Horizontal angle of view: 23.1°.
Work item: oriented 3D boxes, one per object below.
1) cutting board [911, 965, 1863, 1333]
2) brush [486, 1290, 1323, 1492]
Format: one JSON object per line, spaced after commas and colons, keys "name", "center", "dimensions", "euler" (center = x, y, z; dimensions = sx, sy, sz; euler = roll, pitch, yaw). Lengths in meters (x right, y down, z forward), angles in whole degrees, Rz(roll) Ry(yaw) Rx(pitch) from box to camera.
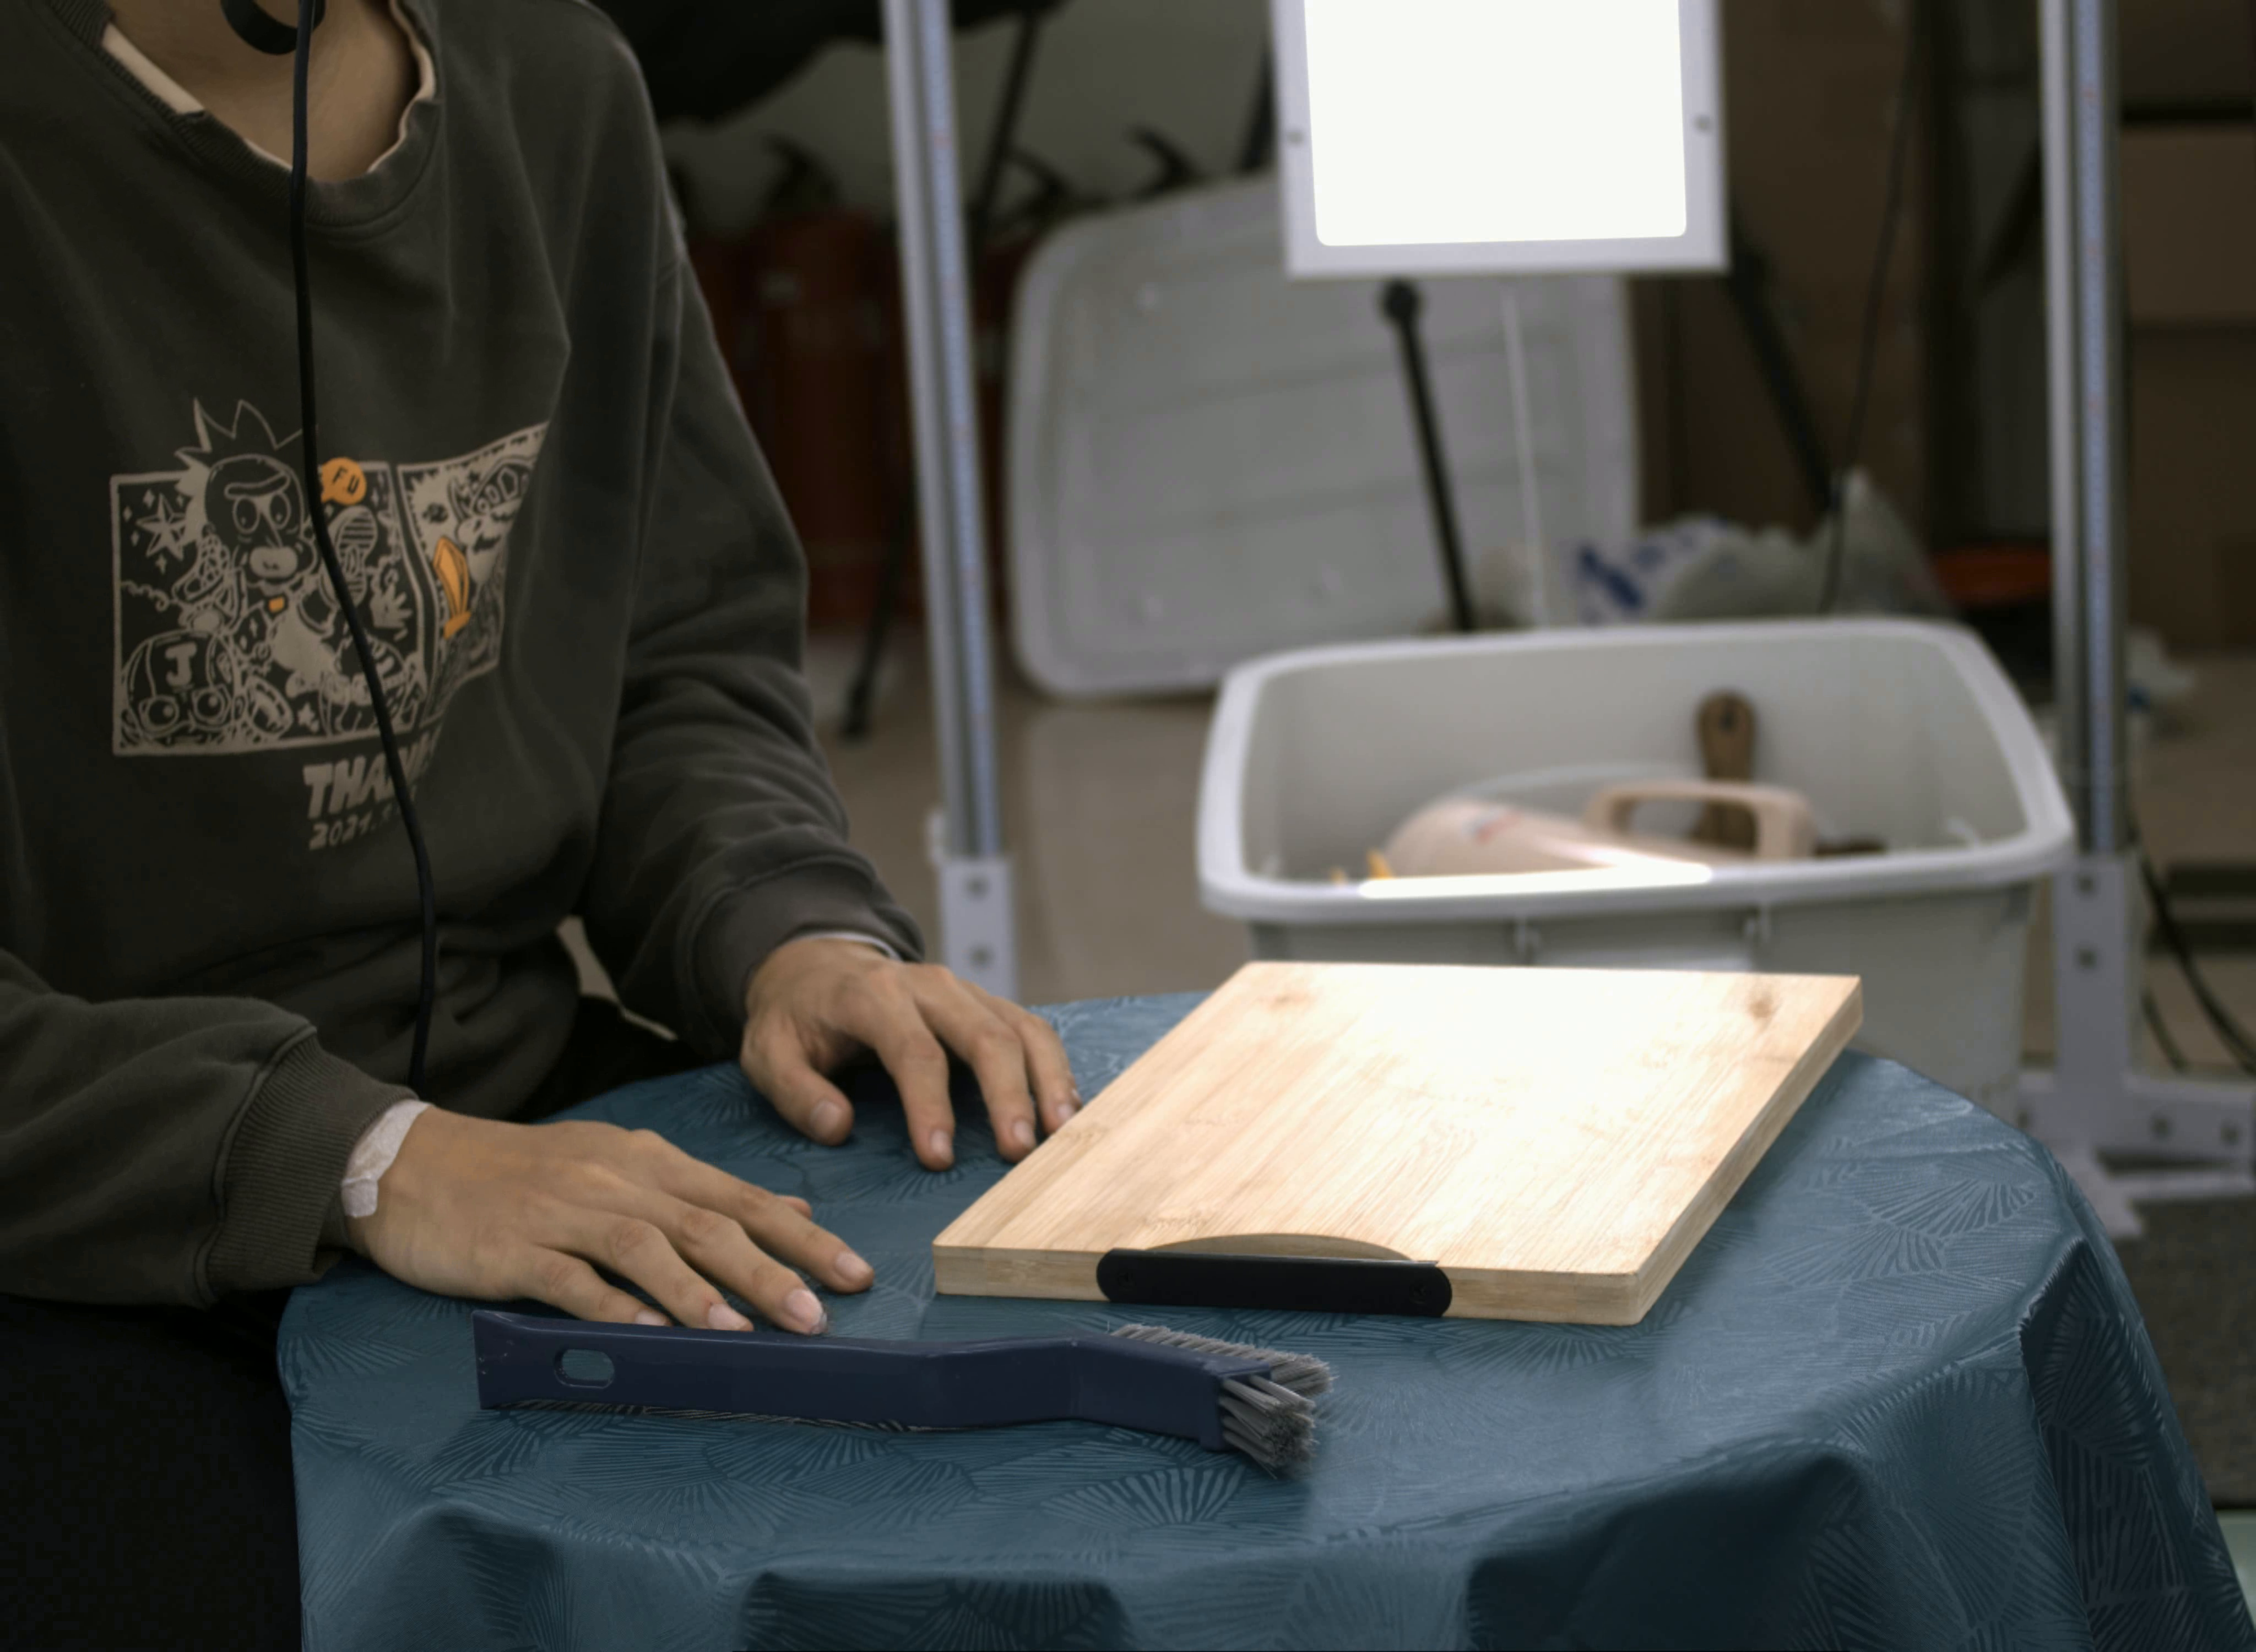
{"name": "cutting board", "center": [0.101, 0.107, 1.907], "dimensions": [0.254, 0.023, 0.342], "euler": [-1, 14, 20]}
{"name": "brush", "center": [-0.076, 0.170, 1.683], "dimensions": [0.276, 0.033, 0.094], "euler": [0, 15, 15]}
